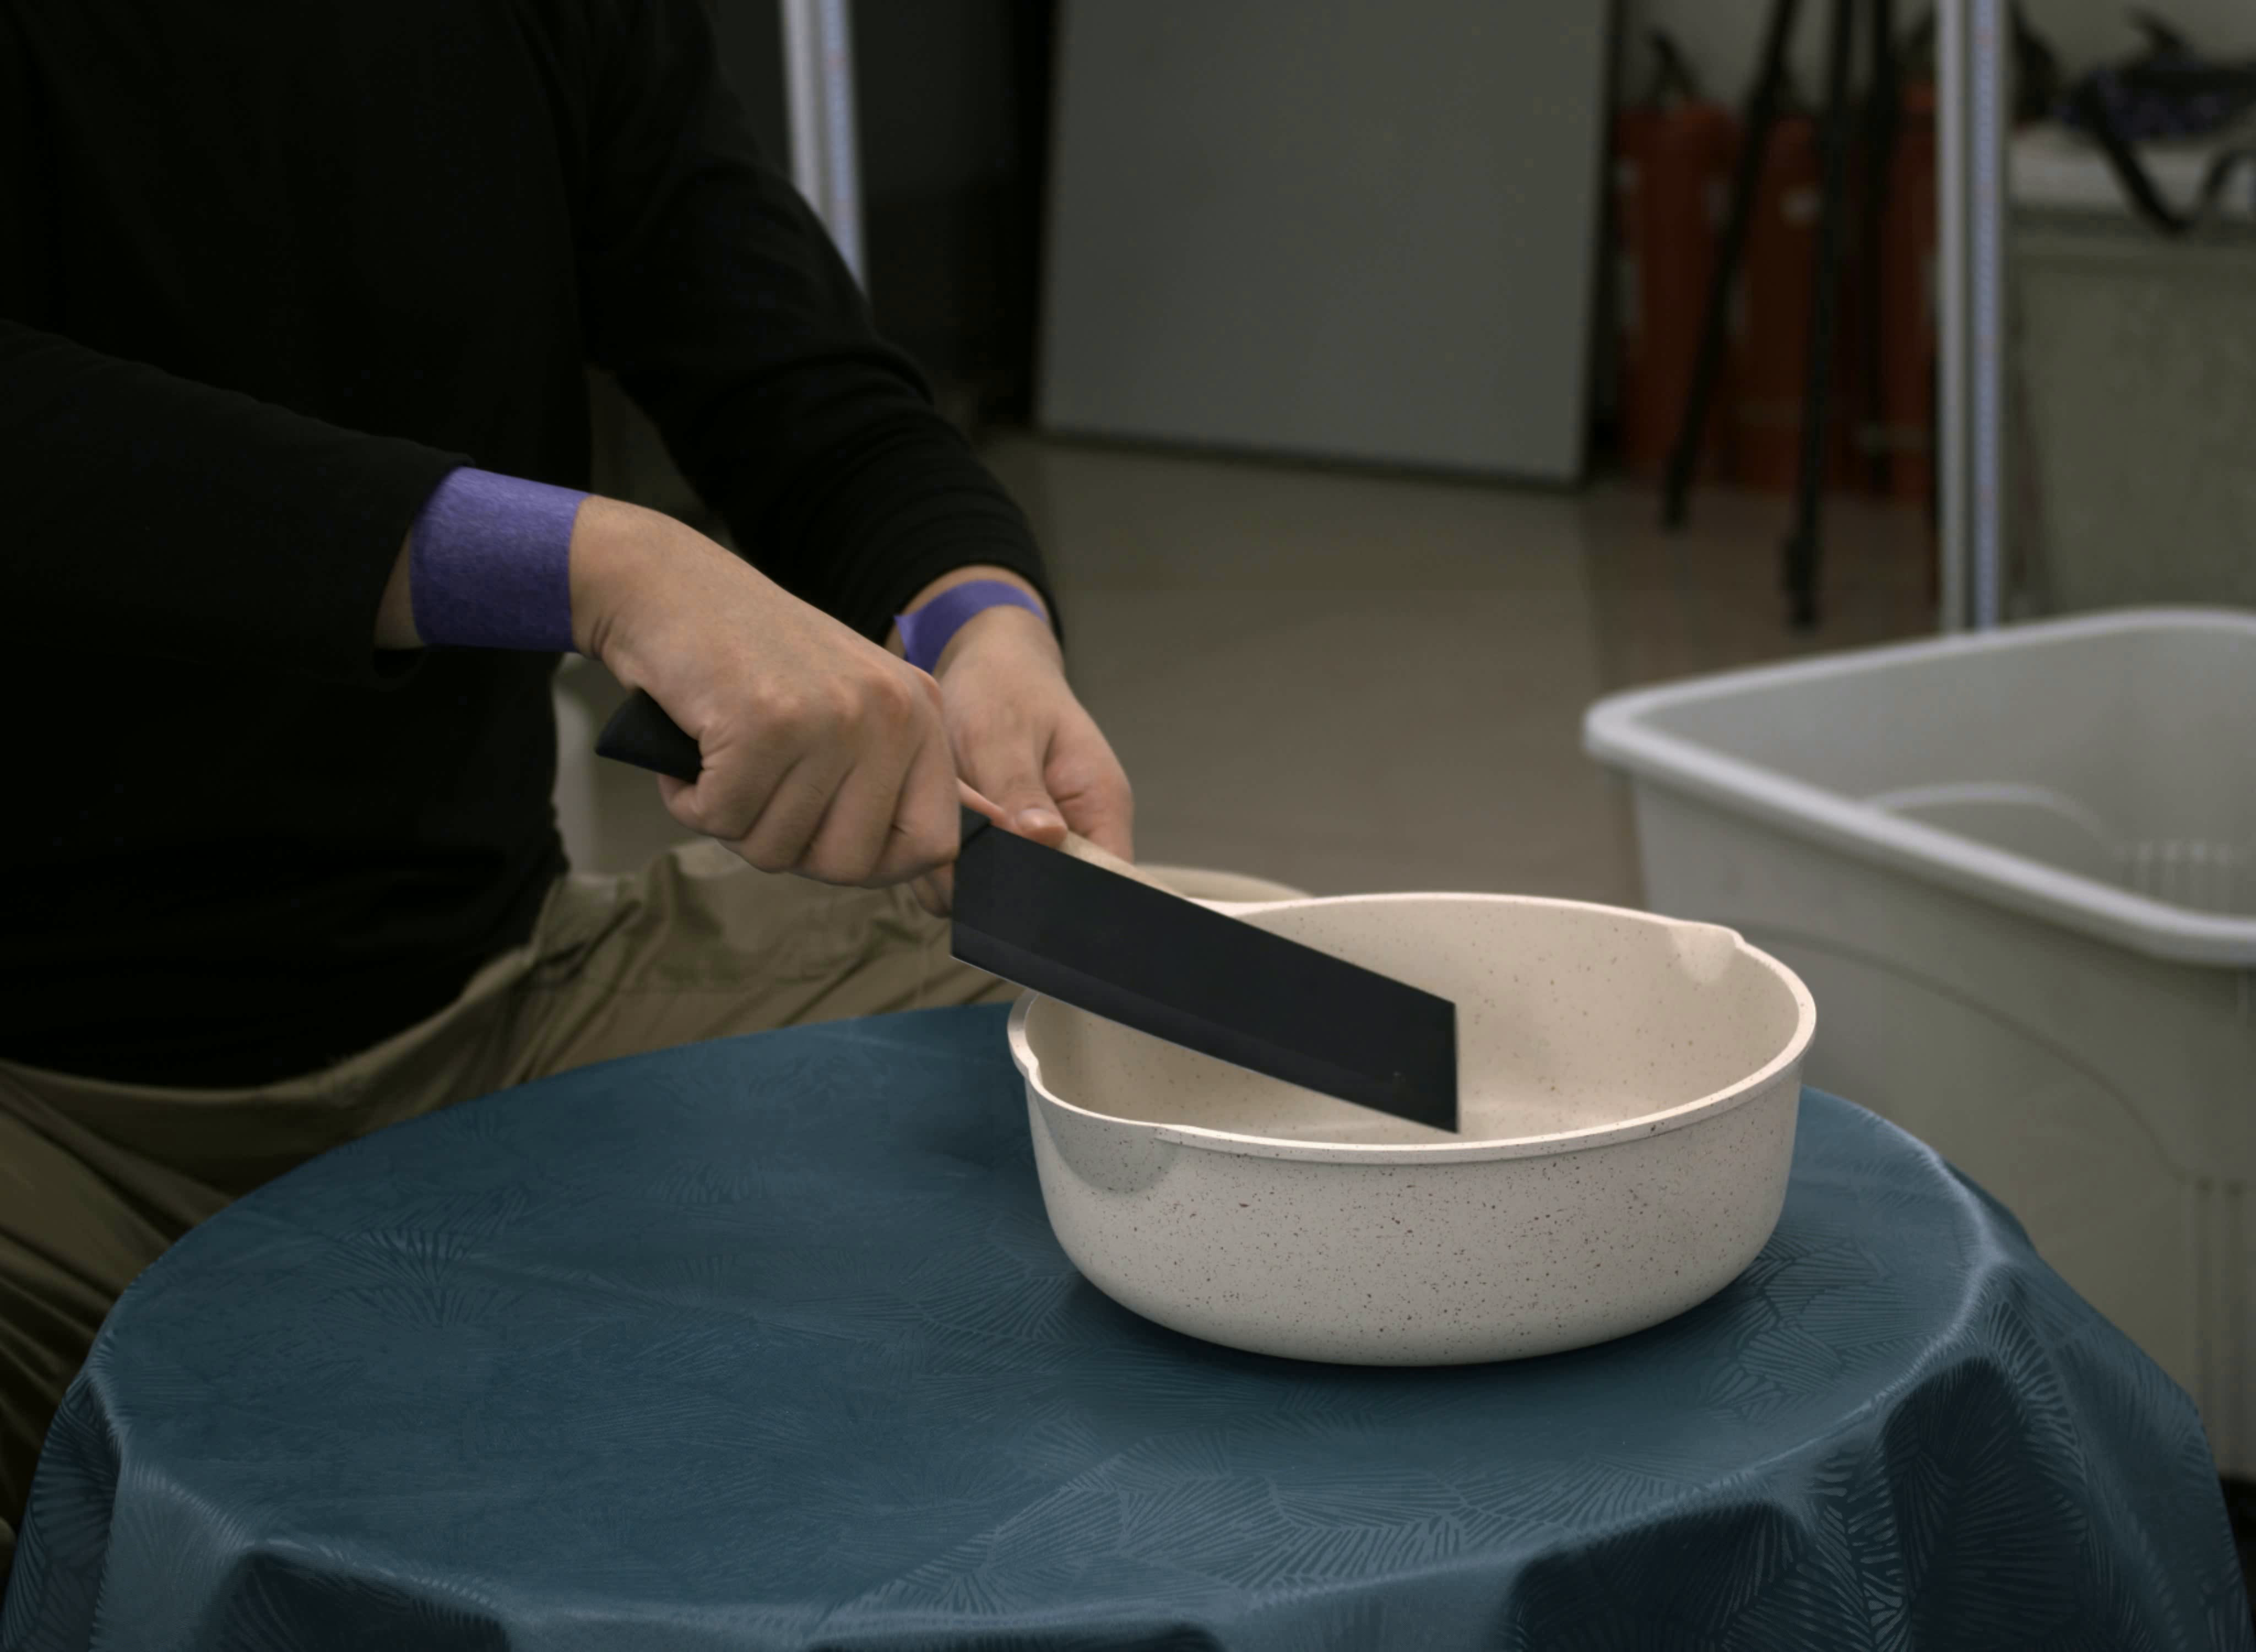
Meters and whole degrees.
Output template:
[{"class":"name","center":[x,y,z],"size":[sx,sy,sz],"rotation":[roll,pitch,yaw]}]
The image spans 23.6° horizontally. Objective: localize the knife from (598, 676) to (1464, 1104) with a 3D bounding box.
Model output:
[{"class":"knife","center":[-0.025,0.024,1.684],"size":[0.298,0.021,0.081],"rotation":[24,38,-11]}]

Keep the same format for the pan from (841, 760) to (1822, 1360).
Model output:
[{"class":"pan","center":[0.038,0.067,1.743],"size":[0.258,0.103,0.439],"rotation":[-15,19,-32]}]
